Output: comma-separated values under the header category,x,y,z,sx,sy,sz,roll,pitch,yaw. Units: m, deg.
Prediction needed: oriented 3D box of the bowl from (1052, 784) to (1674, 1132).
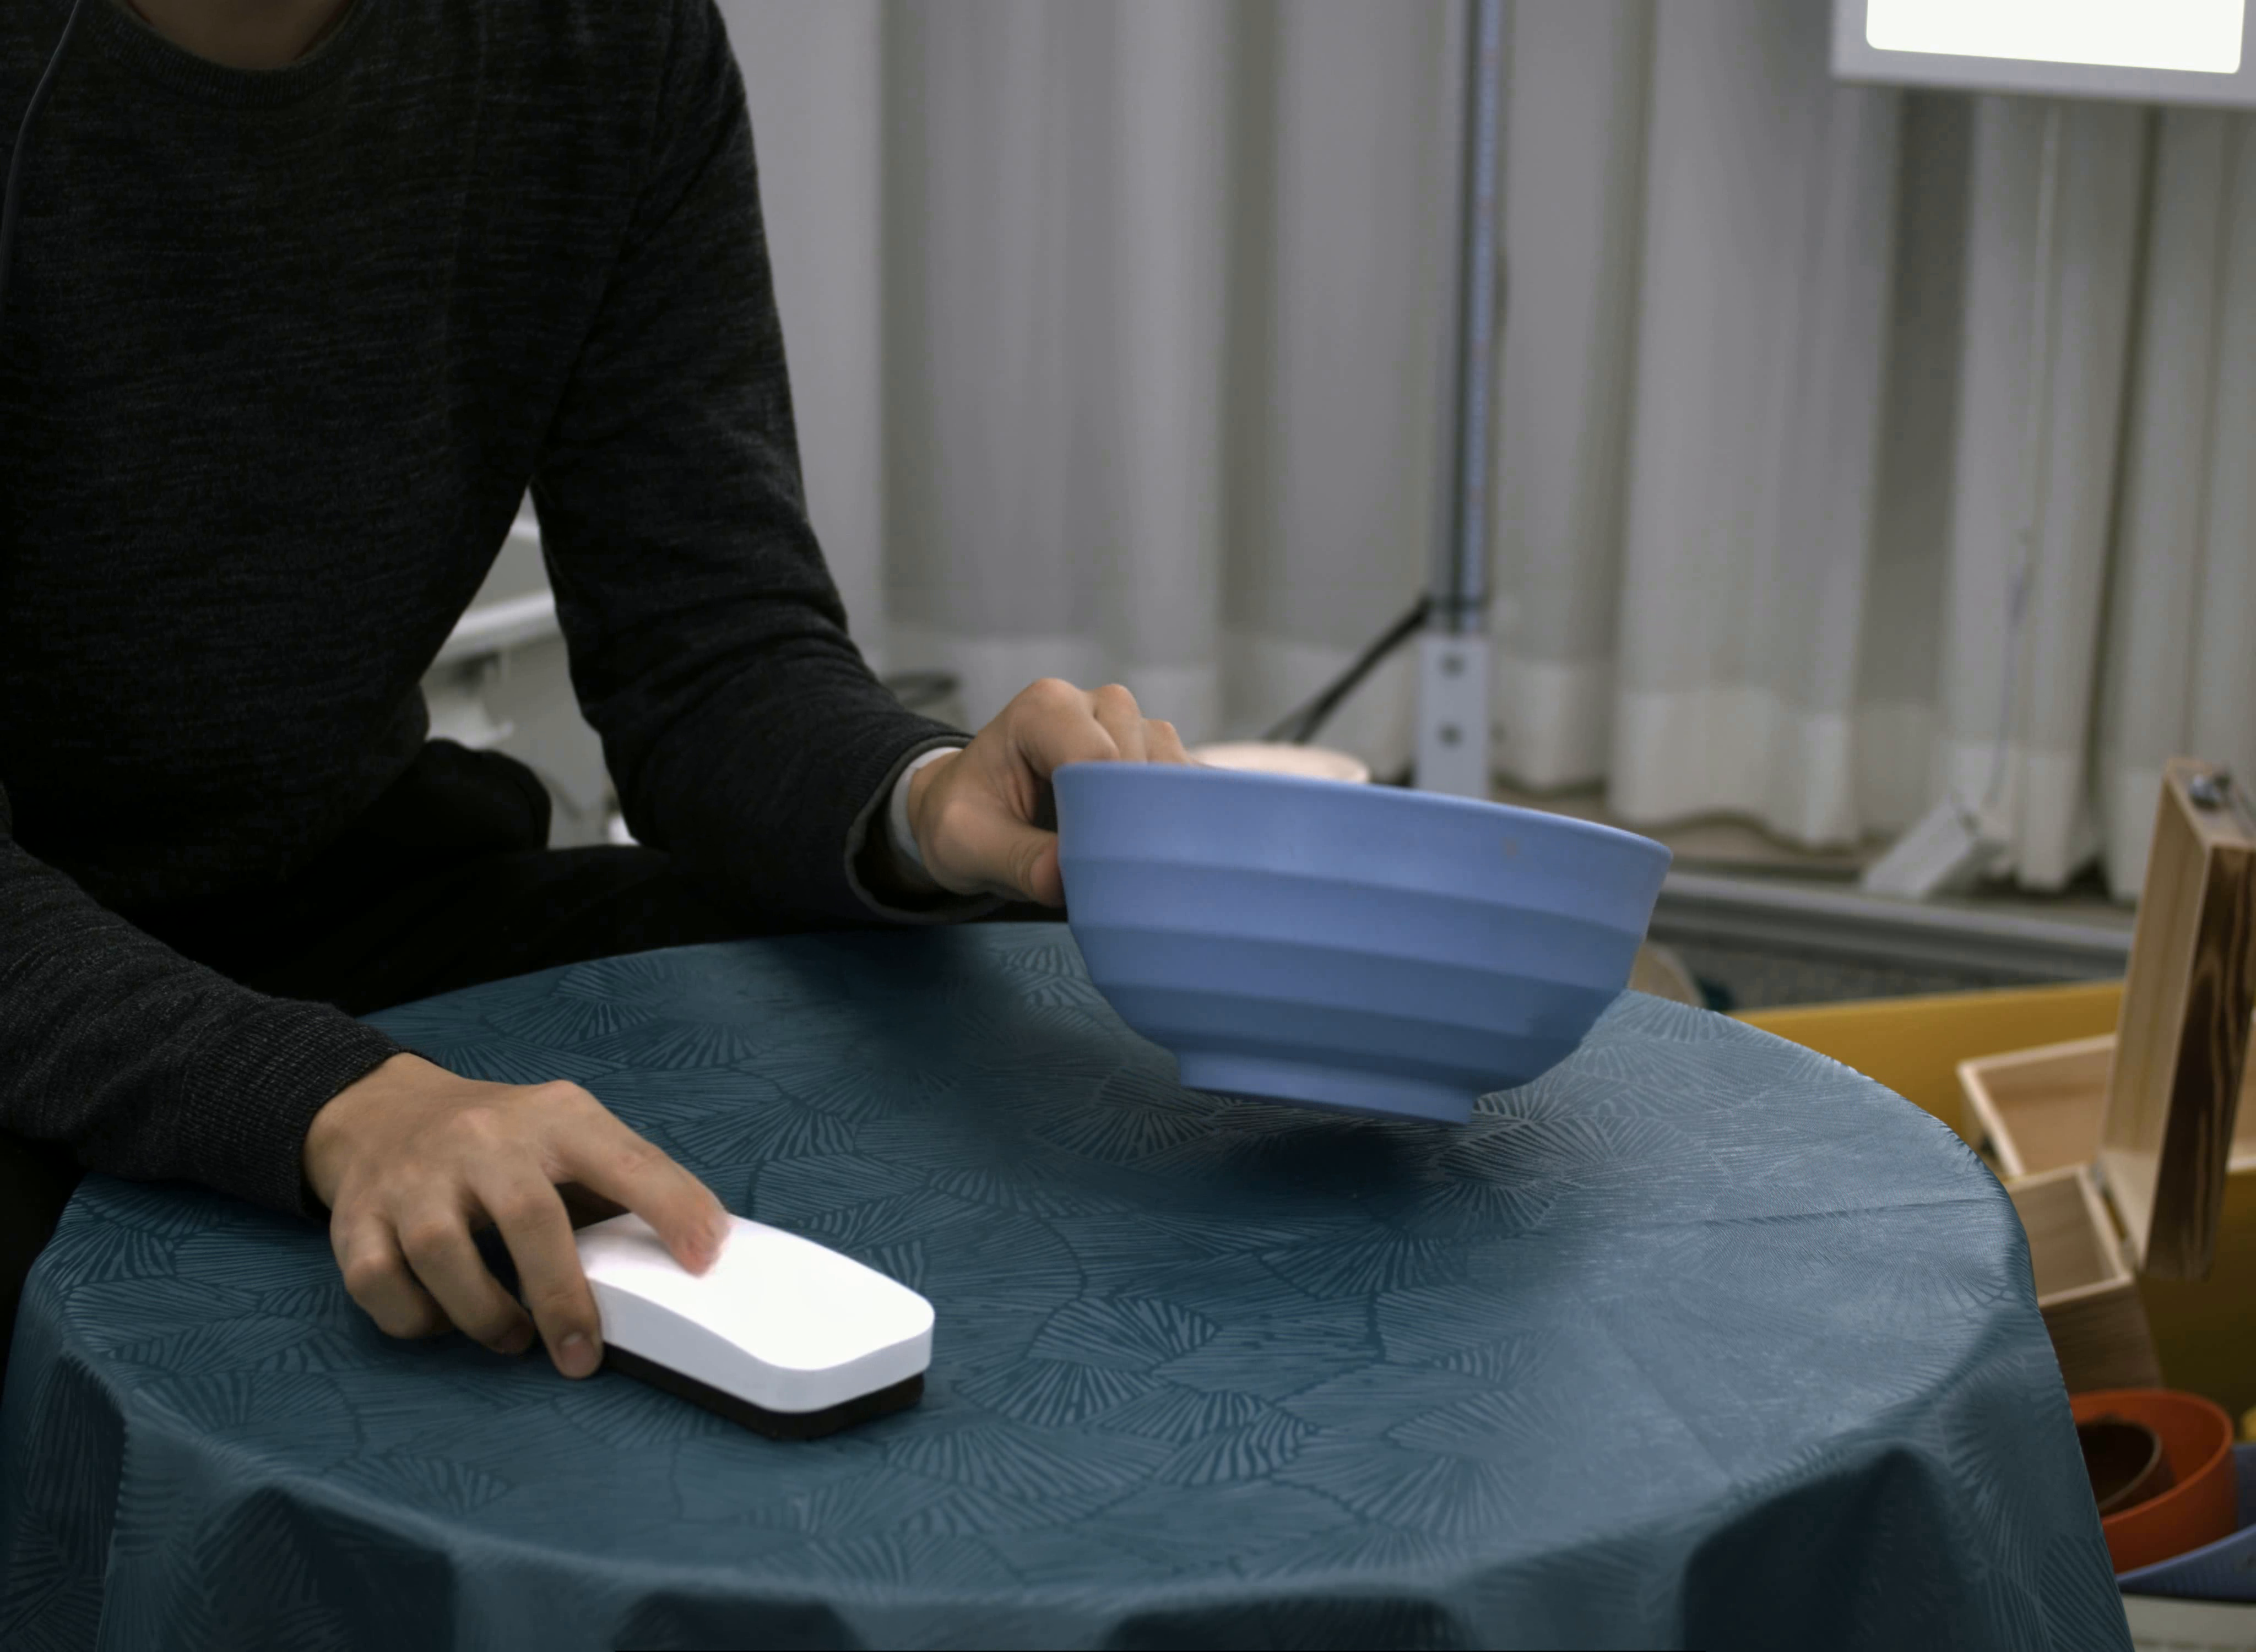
category,x,y,z,sx,sy,sz,roll,pitch,yaw
bowl,0.069,0.044,1.647,0.196,0.095,0.196,6,-3,1

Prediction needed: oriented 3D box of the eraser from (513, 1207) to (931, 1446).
category,x,y,z,sx,sy,sz,roll,pitch,yaw
eraser,-0.114,0.135,1.474,0.064,0.035,0.129,-14,23,-41
